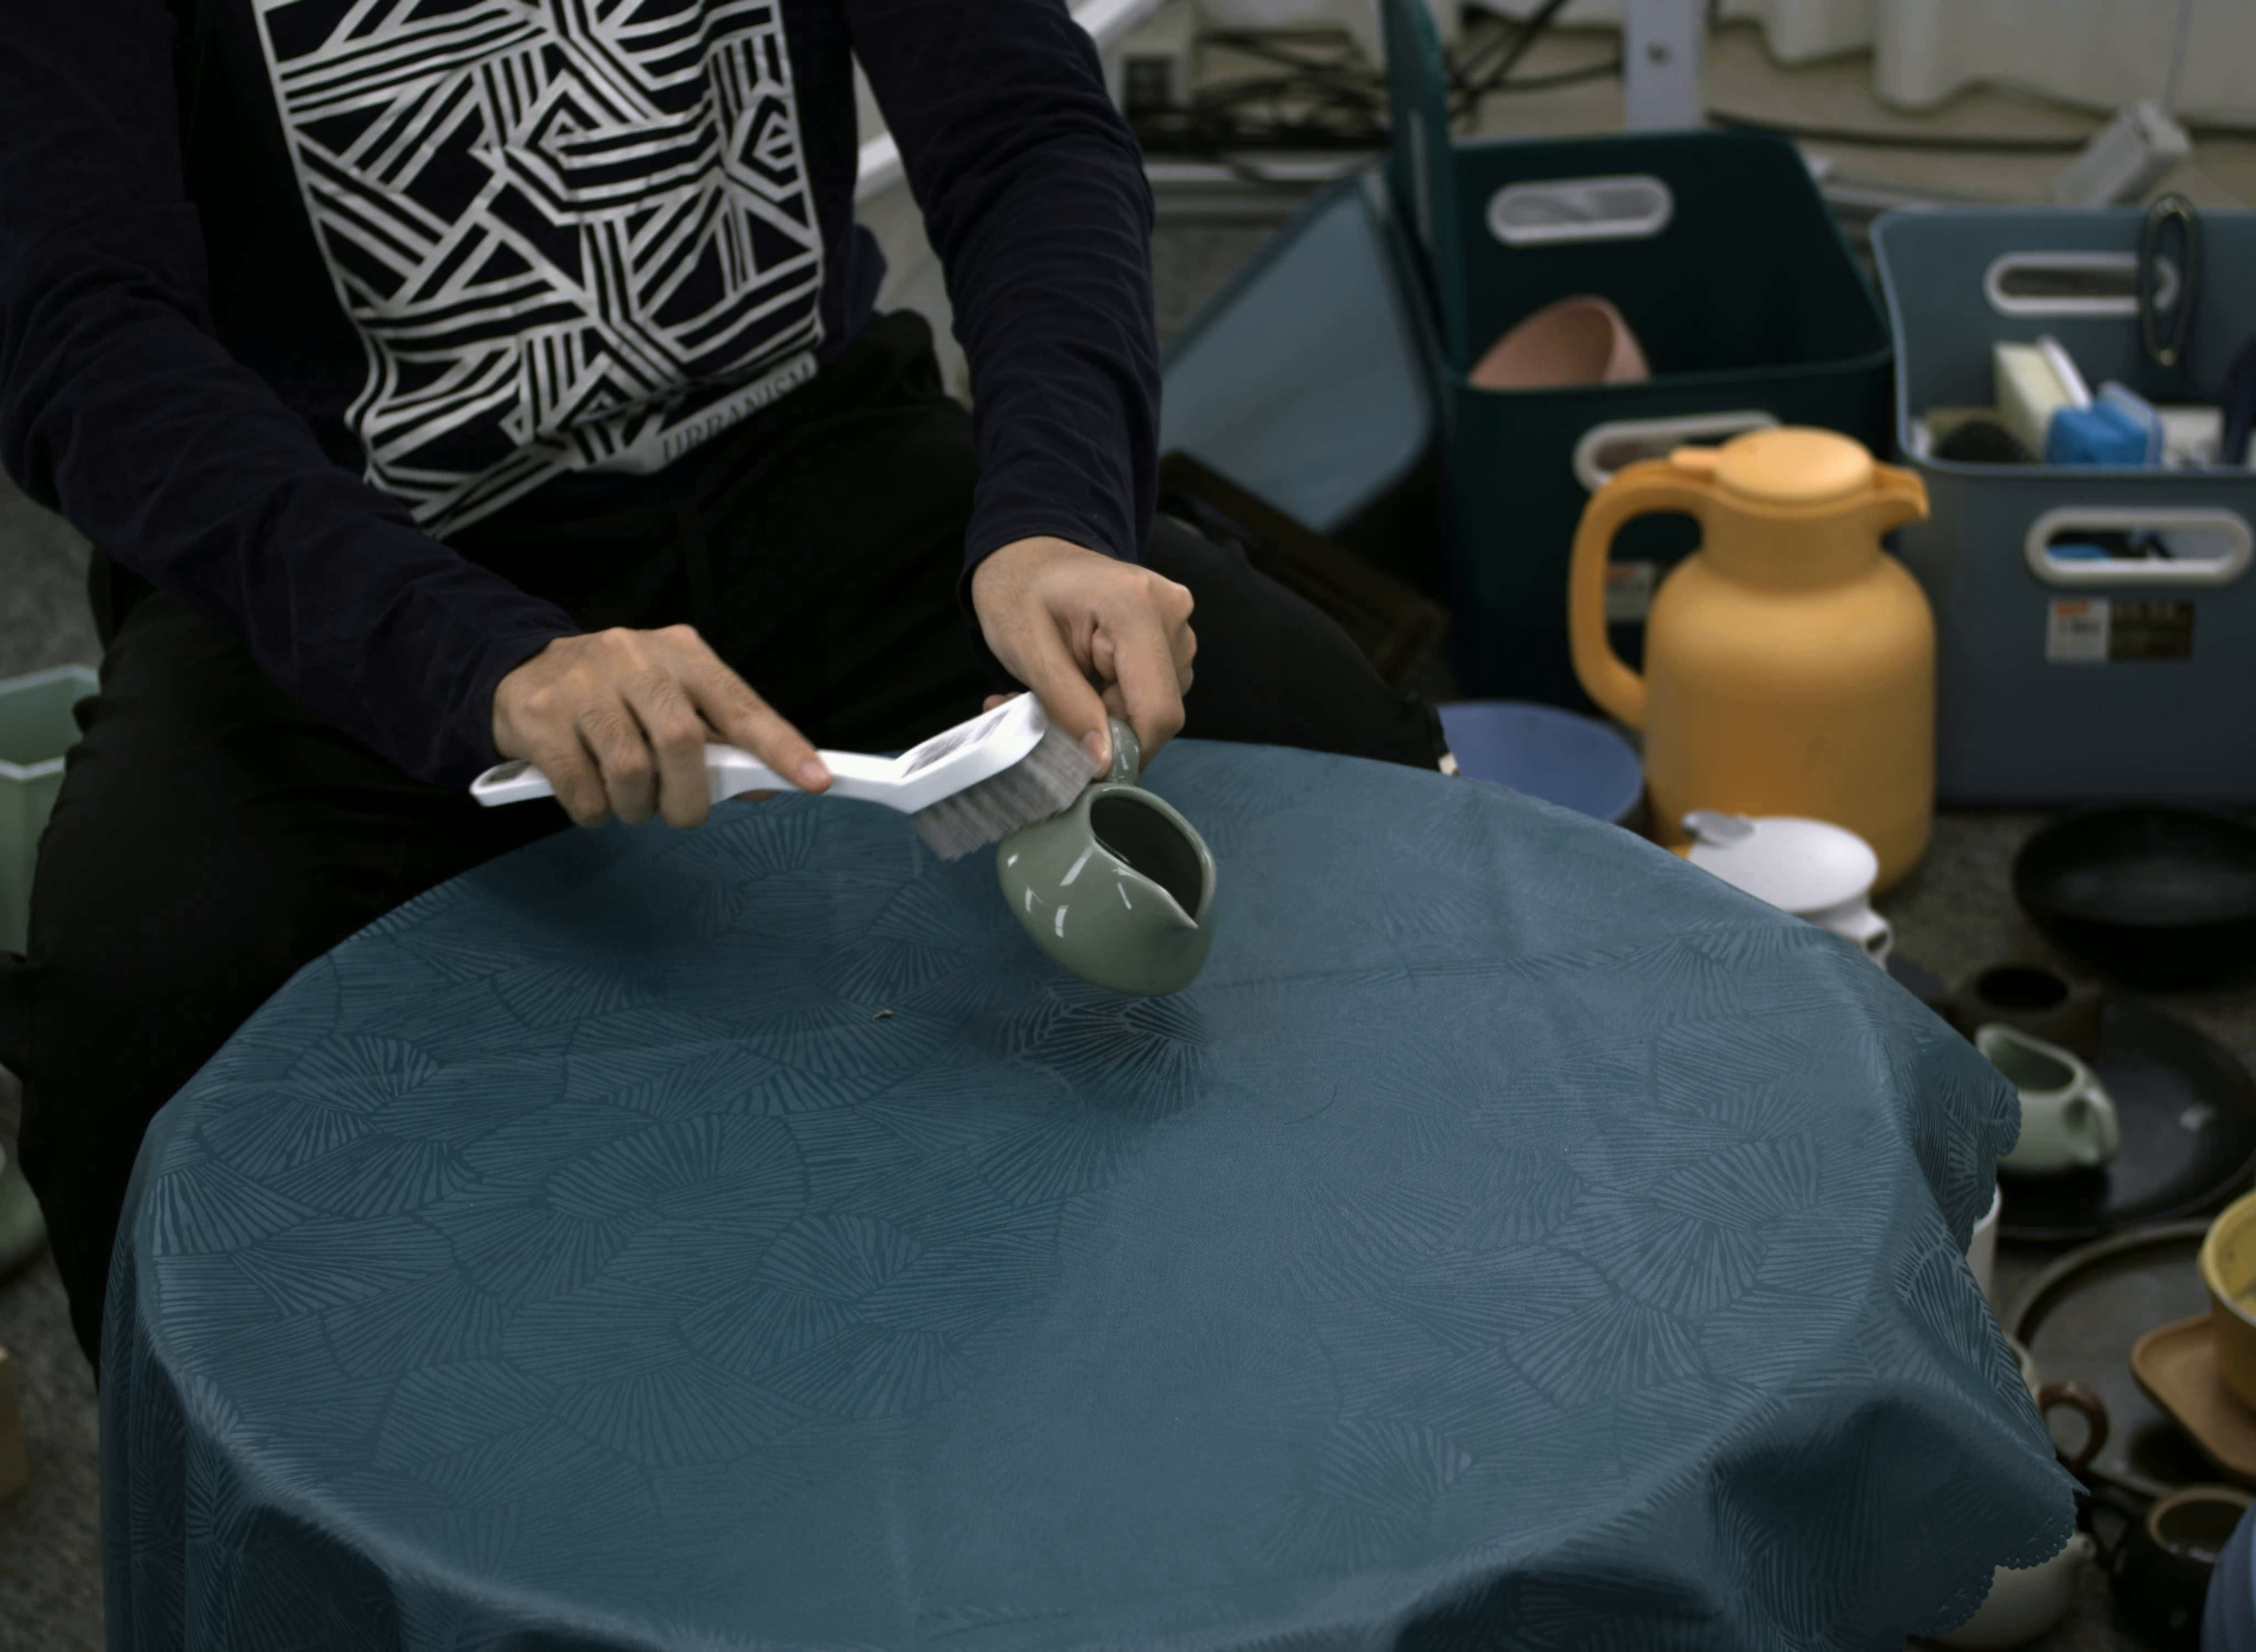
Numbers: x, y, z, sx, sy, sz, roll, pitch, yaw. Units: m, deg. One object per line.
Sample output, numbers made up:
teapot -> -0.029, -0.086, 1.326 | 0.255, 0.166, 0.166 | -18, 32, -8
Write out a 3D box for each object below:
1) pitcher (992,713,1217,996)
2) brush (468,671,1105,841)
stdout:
pitcher -> -0.006, 0.013, 1.938 | 0.084, 0.055, 0.114 | 16, 34, -37
brush -> -0.121, -0.011, 1.972 | 0.241, 0.050, 0.035 | -9, 32, 25
